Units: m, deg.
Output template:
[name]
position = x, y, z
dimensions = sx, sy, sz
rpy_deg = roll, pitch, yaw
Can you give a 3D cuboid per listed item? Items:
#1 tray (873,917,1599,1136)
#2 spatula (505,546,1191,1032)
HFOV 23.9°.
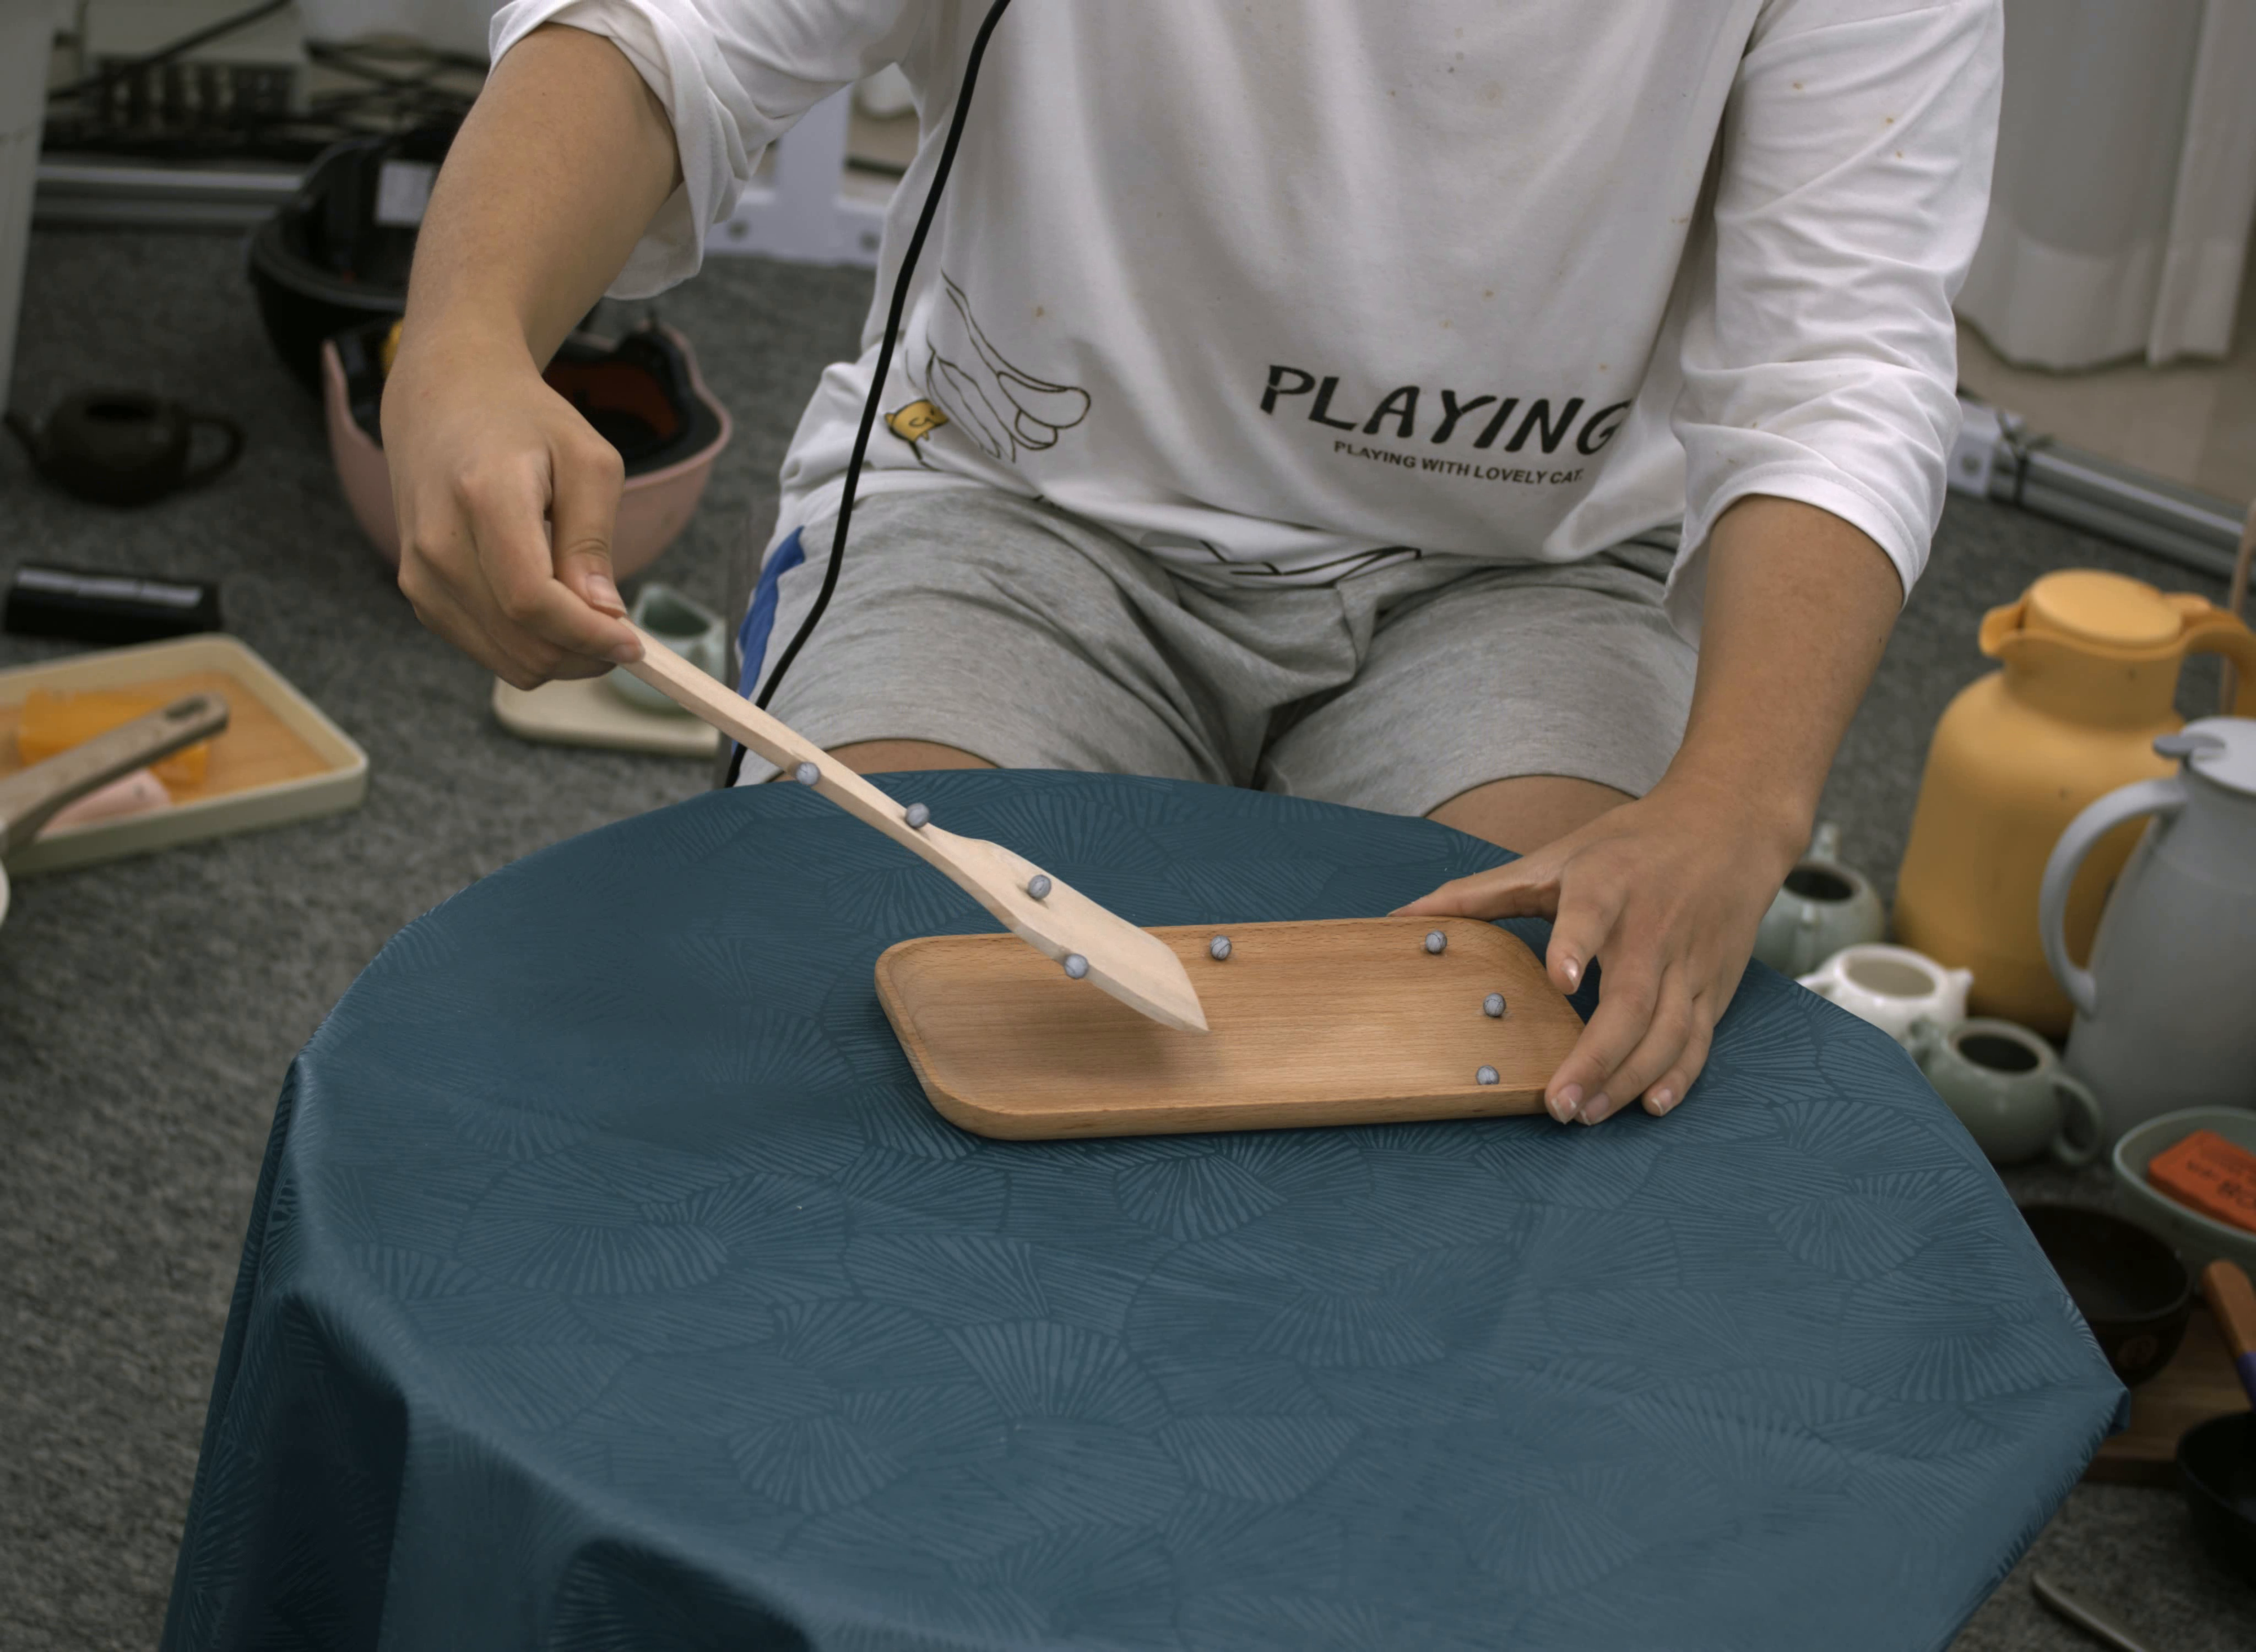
[tray]
position = 0.038, 0.071, 1.902
dimensions = 0.249, 0.023, 0.131
rpy_deg = -2, 25, -16
[spatula]
position = -0.095, -0.013, 1.823
dimensions = 0.291, 0.010, 0.073
rpy_deg = 34, 15, -23
